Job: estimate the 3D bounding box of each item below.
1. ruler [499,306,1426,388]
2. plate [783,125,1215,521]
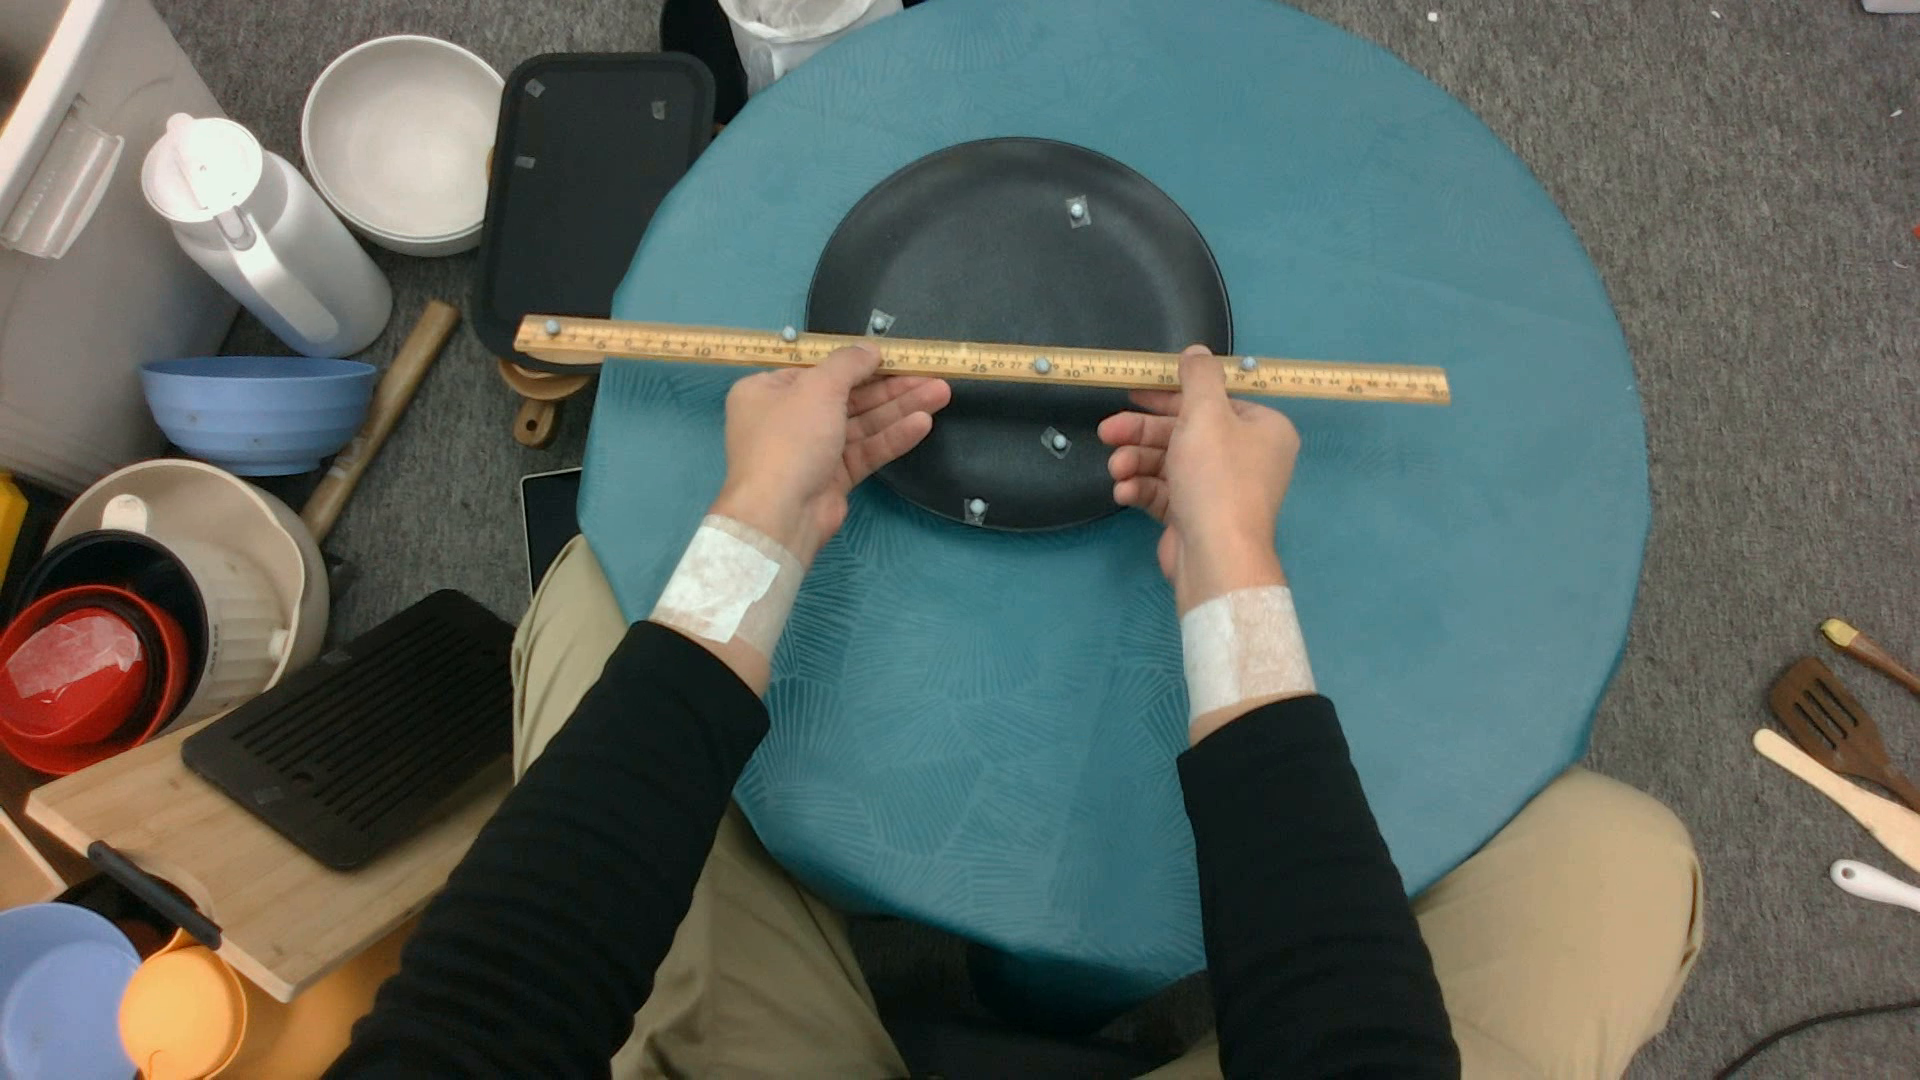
[{"bbox_3d":[0.000,-0.104,0.745,0.500,0.006,0.027,3,53,1],"label":"ruler"},{"bbox_3d":[0.022,-0.125,0.784,0.244,0.023,0.245,1,74,-2],"label":"plate"}]
